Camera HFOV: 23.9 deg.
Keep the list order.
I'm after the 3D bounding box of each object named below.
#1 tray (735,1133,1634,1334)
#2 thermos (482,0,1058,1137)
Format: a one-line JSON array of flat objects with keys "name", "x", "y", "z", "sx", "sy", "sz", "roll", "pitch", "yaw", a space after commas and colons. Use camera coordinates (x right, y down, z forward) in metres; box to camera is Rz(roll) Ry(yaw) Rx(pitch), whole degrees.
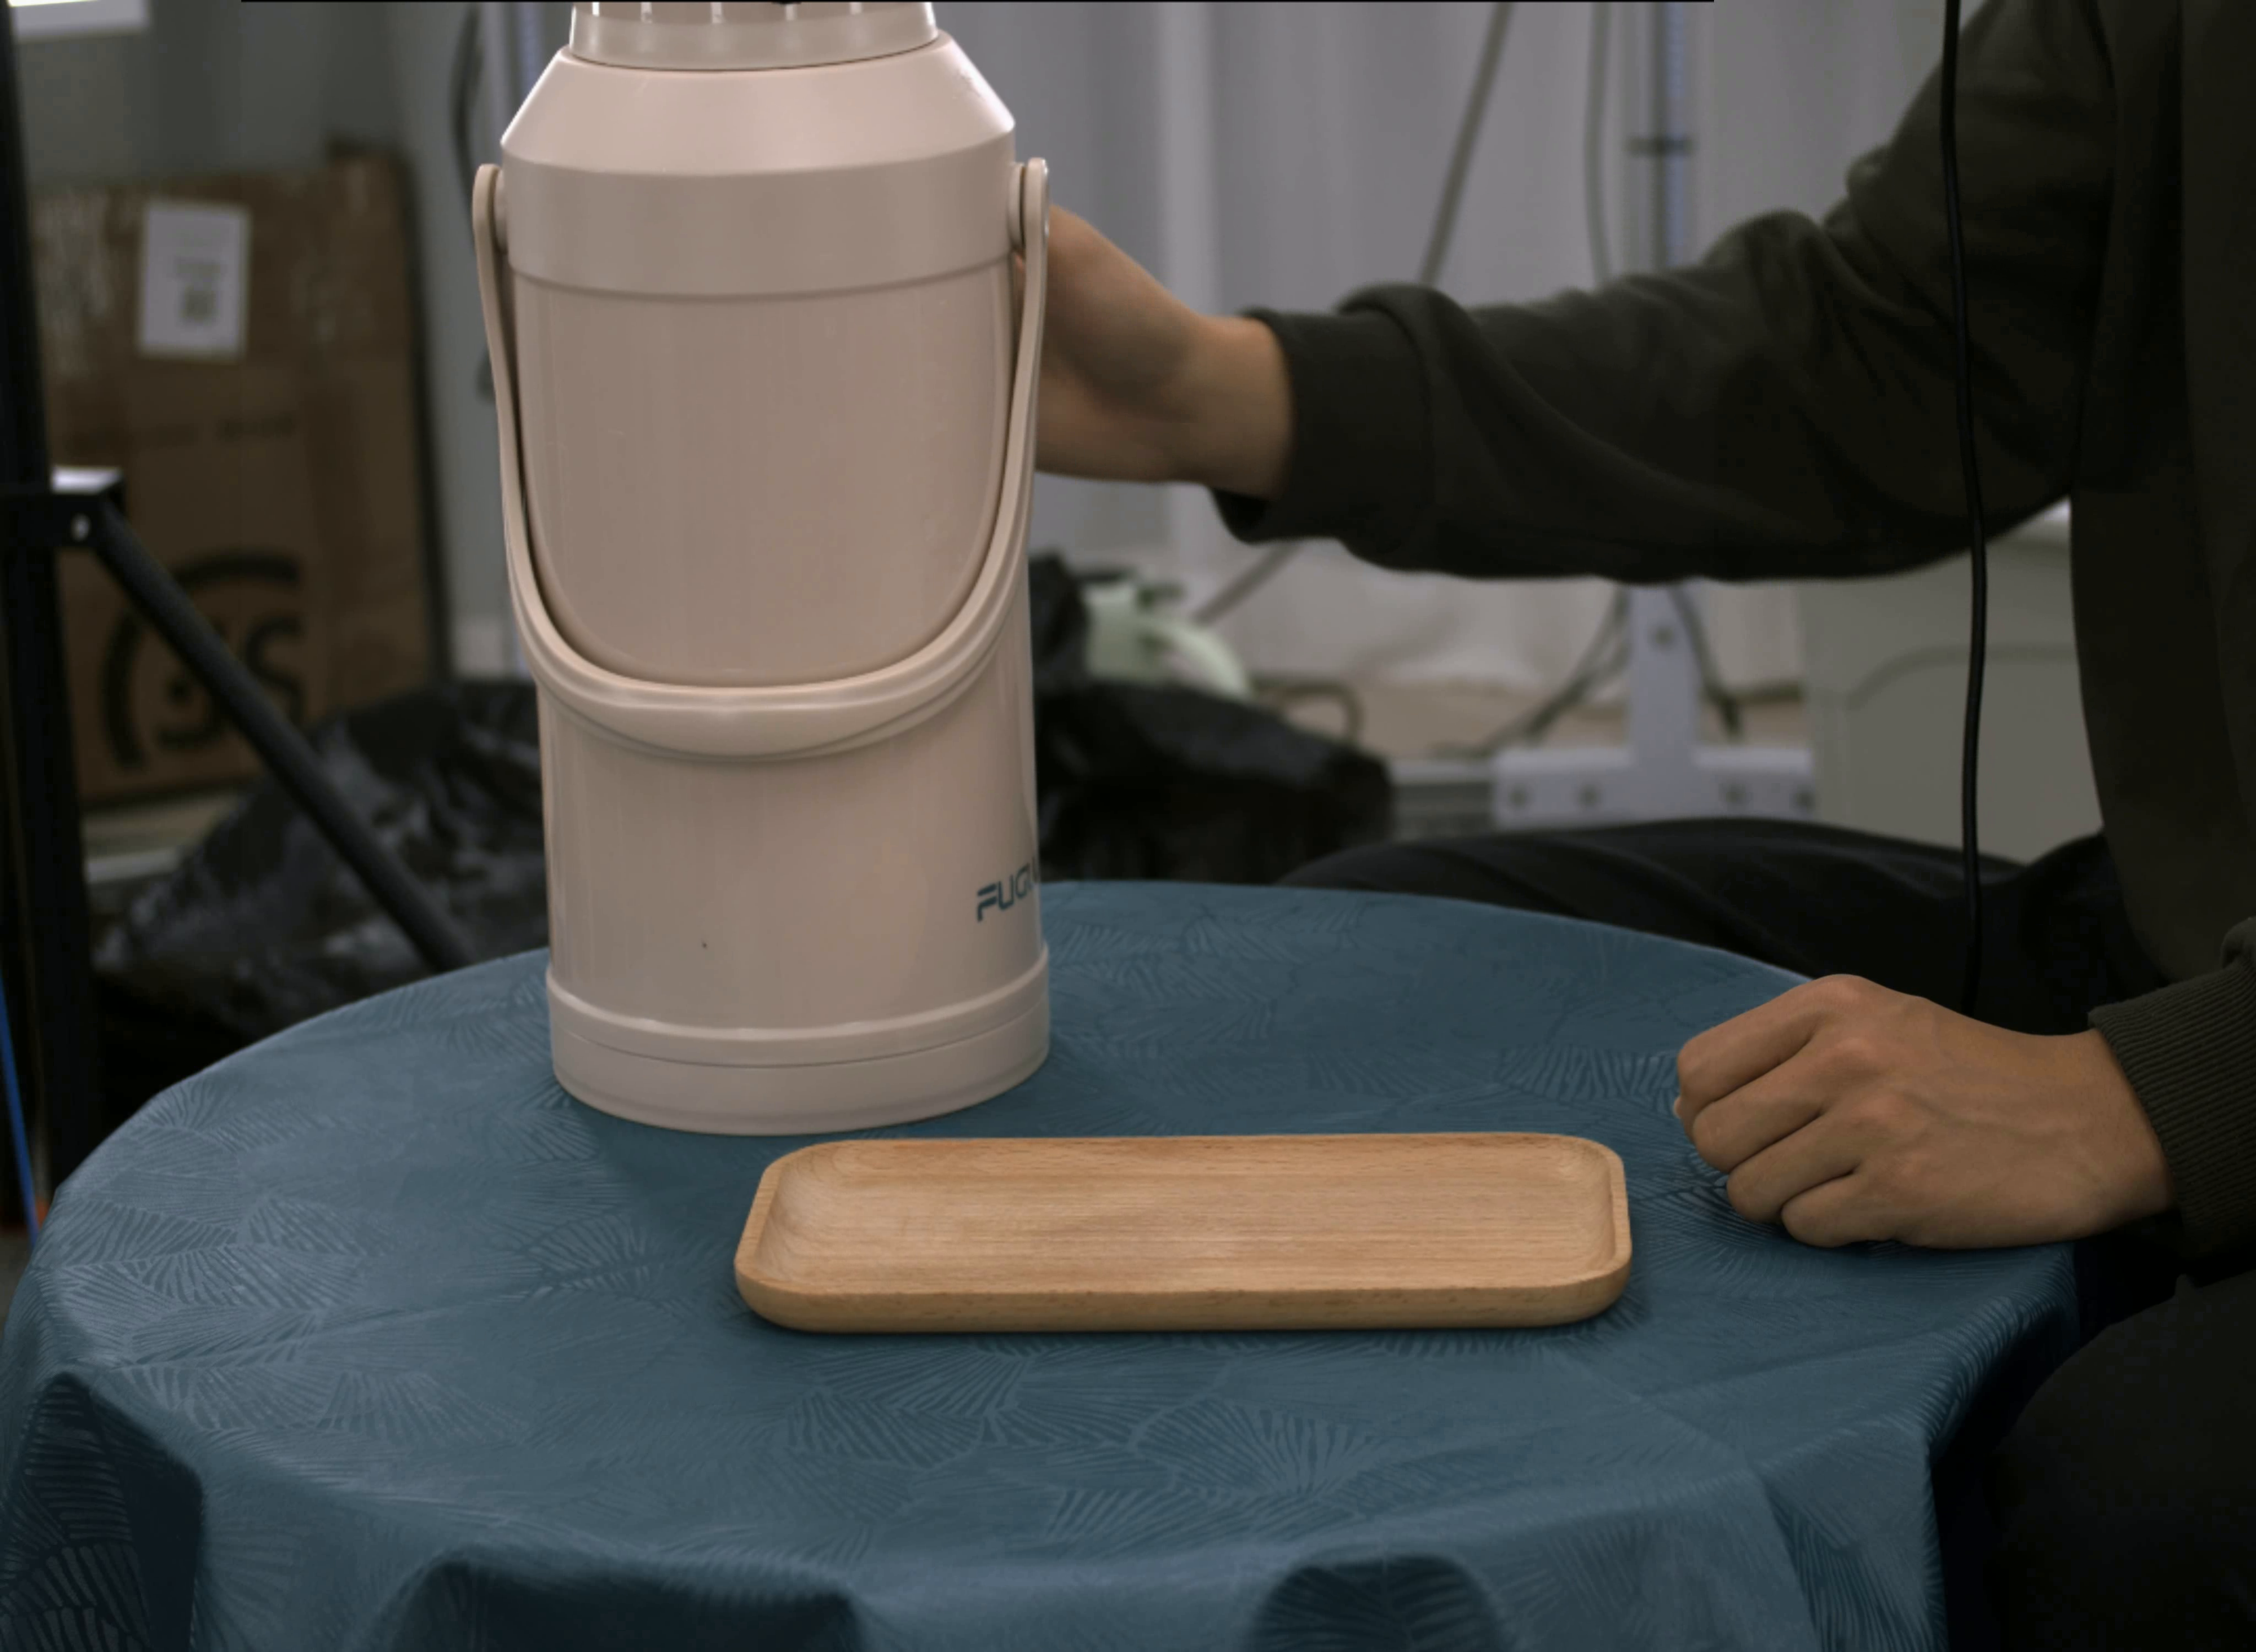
[{"name": "tray", "x": 0.018, "y": 0.116, "z": 1.503, "sx": 0.251, "sy": 0.023, "sz": 0.130, "roll": 0, "pitch": 18, "yaw": 6}, {"name": "thermos", "x": -0.104, "y": -0.122, "z": 1.660, "sx": 0.175, "sy": 0.406, "sz": 0.207, "roll": -1, "pitch": 15, "yaw": 6}]
